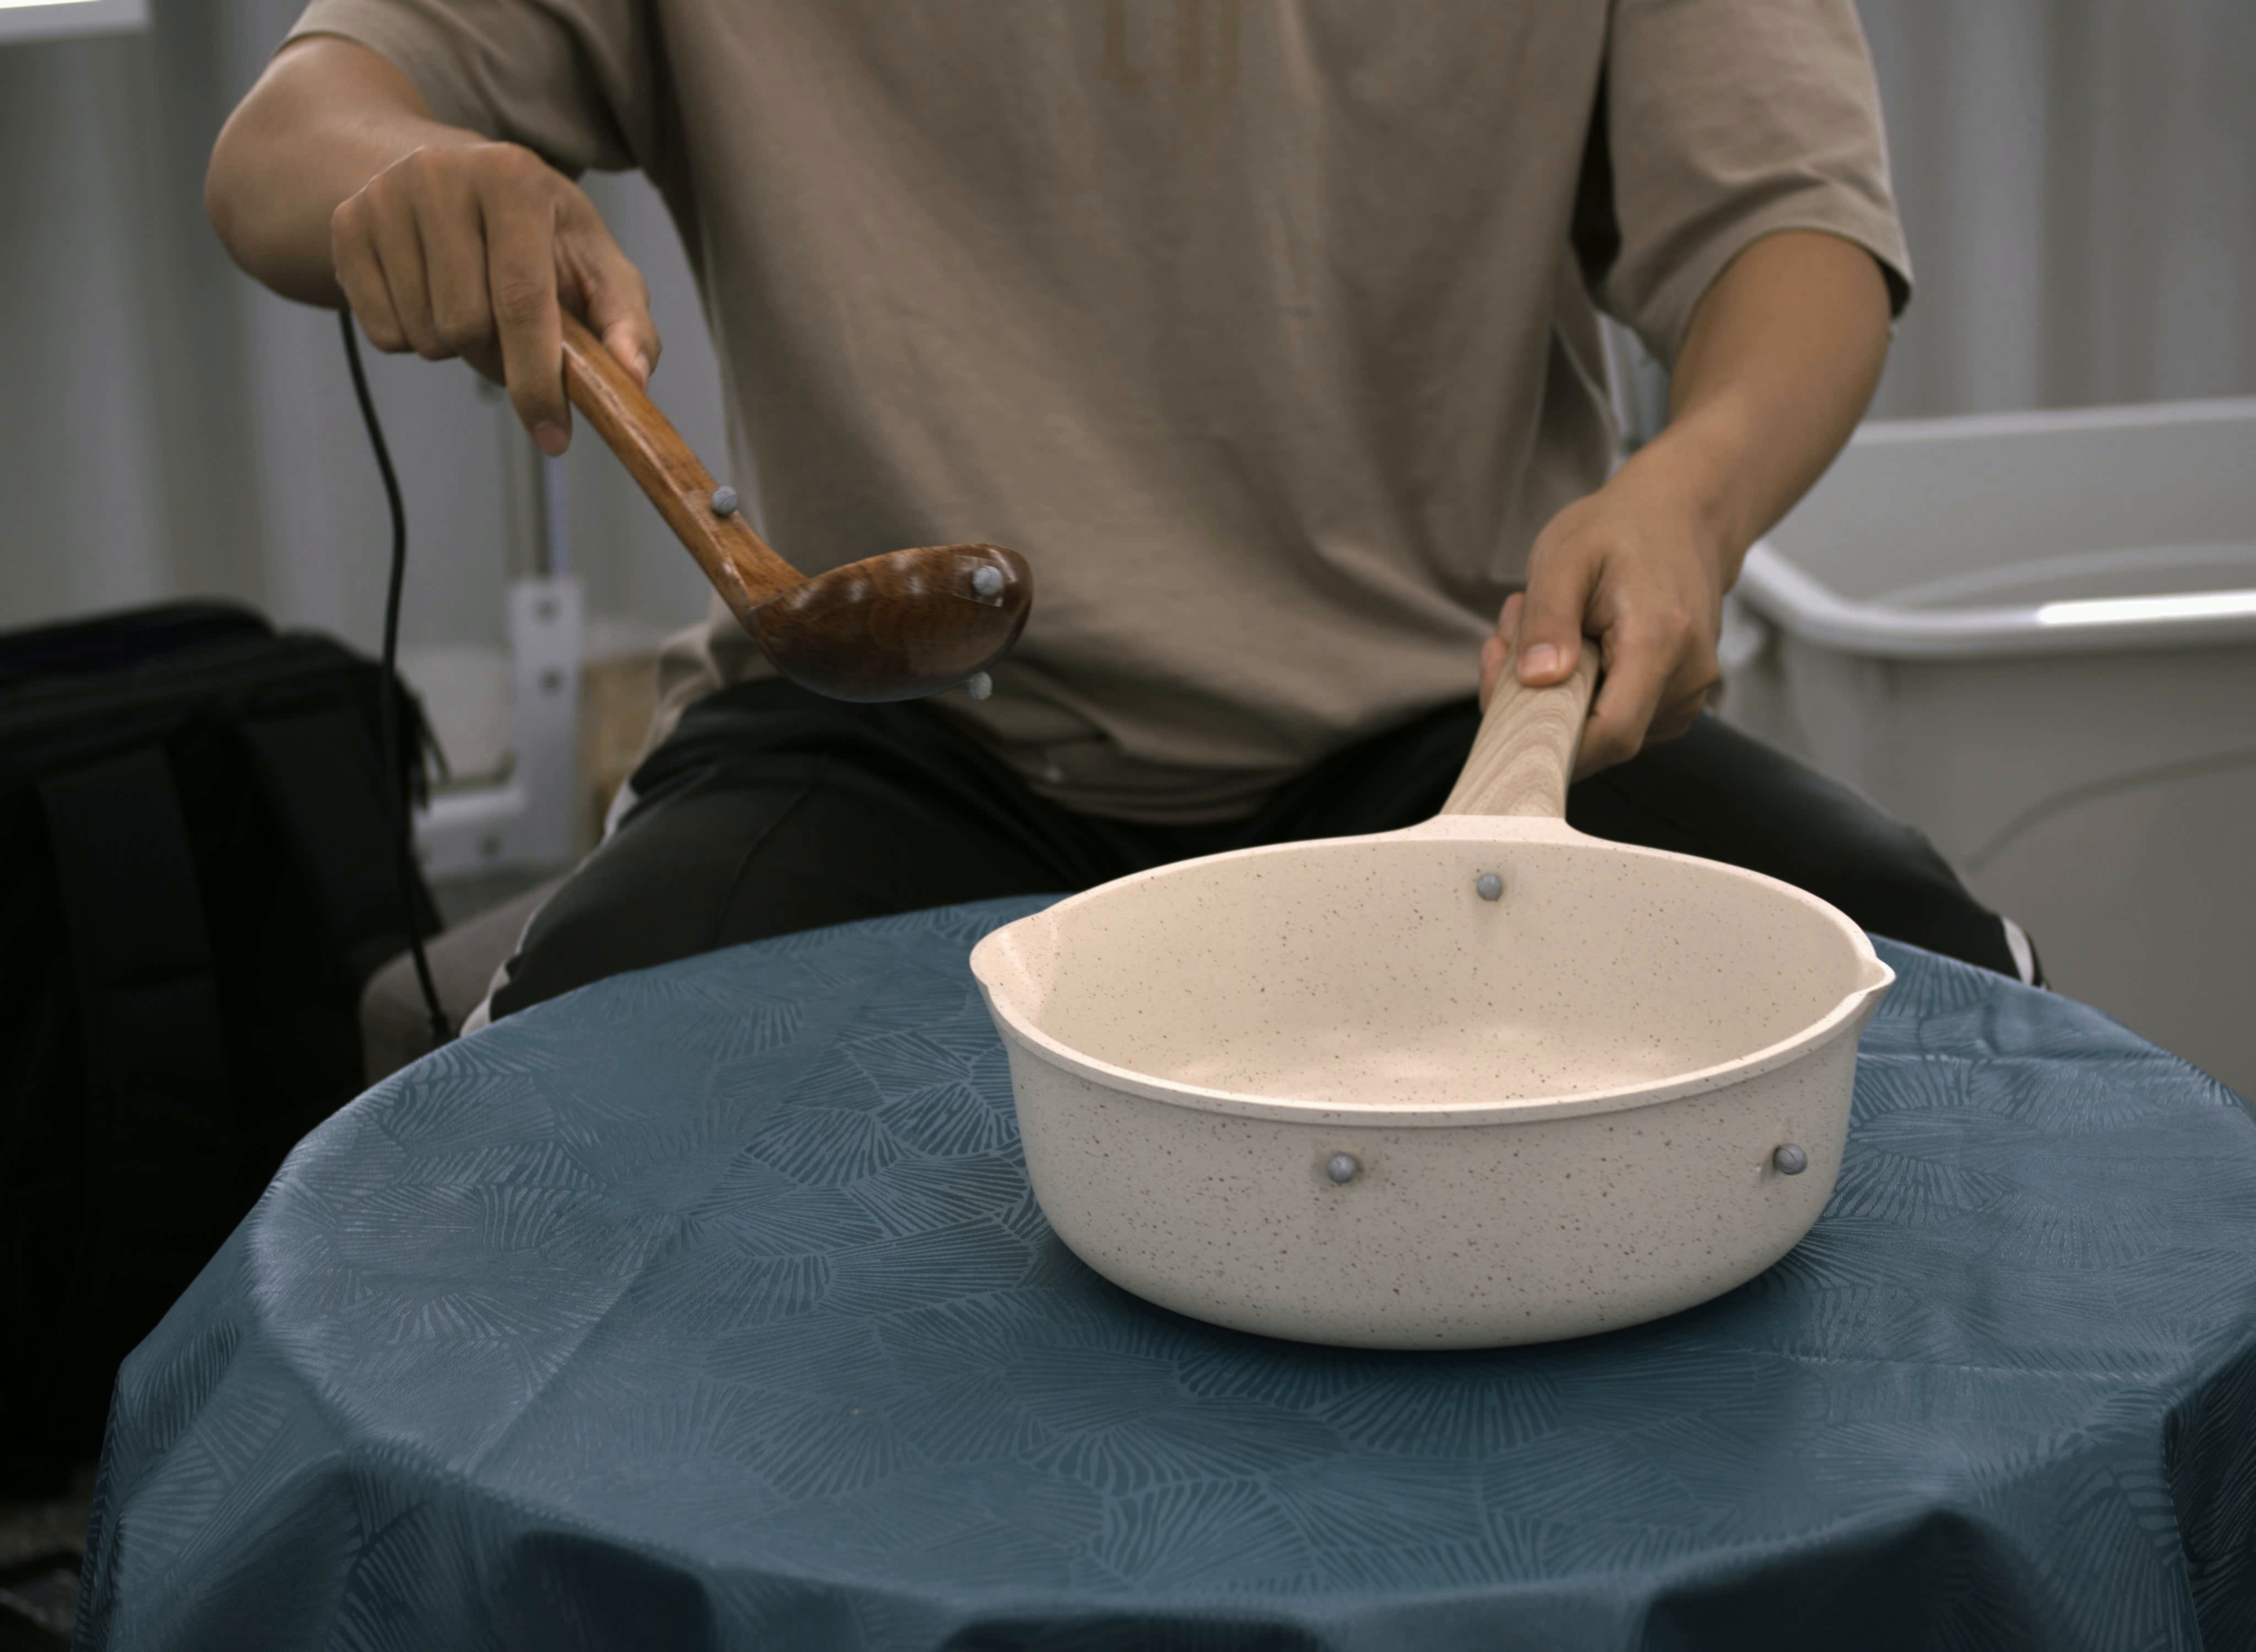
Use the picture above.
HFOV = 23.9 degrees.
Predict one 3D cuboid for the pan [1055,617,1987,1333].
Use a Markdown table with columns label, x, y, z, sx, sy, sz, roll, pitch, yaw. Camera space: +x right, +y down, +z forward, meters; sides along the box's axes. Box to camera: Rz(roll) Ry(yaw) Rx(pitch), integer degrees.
| label | x | y | z | sx | sy | sz | roll | pitch | yaw |
| --- | --- | --- | --- | --- | --- | --- | --- | --- | --- |
| pan | 0.128 | 0.040 | 1.583 | 0.265 | 0.102 | 0.432 | 0 | 16 | 12 |

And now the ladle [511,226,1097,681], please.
| label | x | y | z | sx | sy | sz | roll | pitch | yaw |
| --- | --- | --- | --- | --- | --- | --- | --- | --- | --- |
| ladle | -0.104 | -0.128 | 1.565 | 0.080 | 0.077 | 0.280 | 6 | 32 | -41 |
